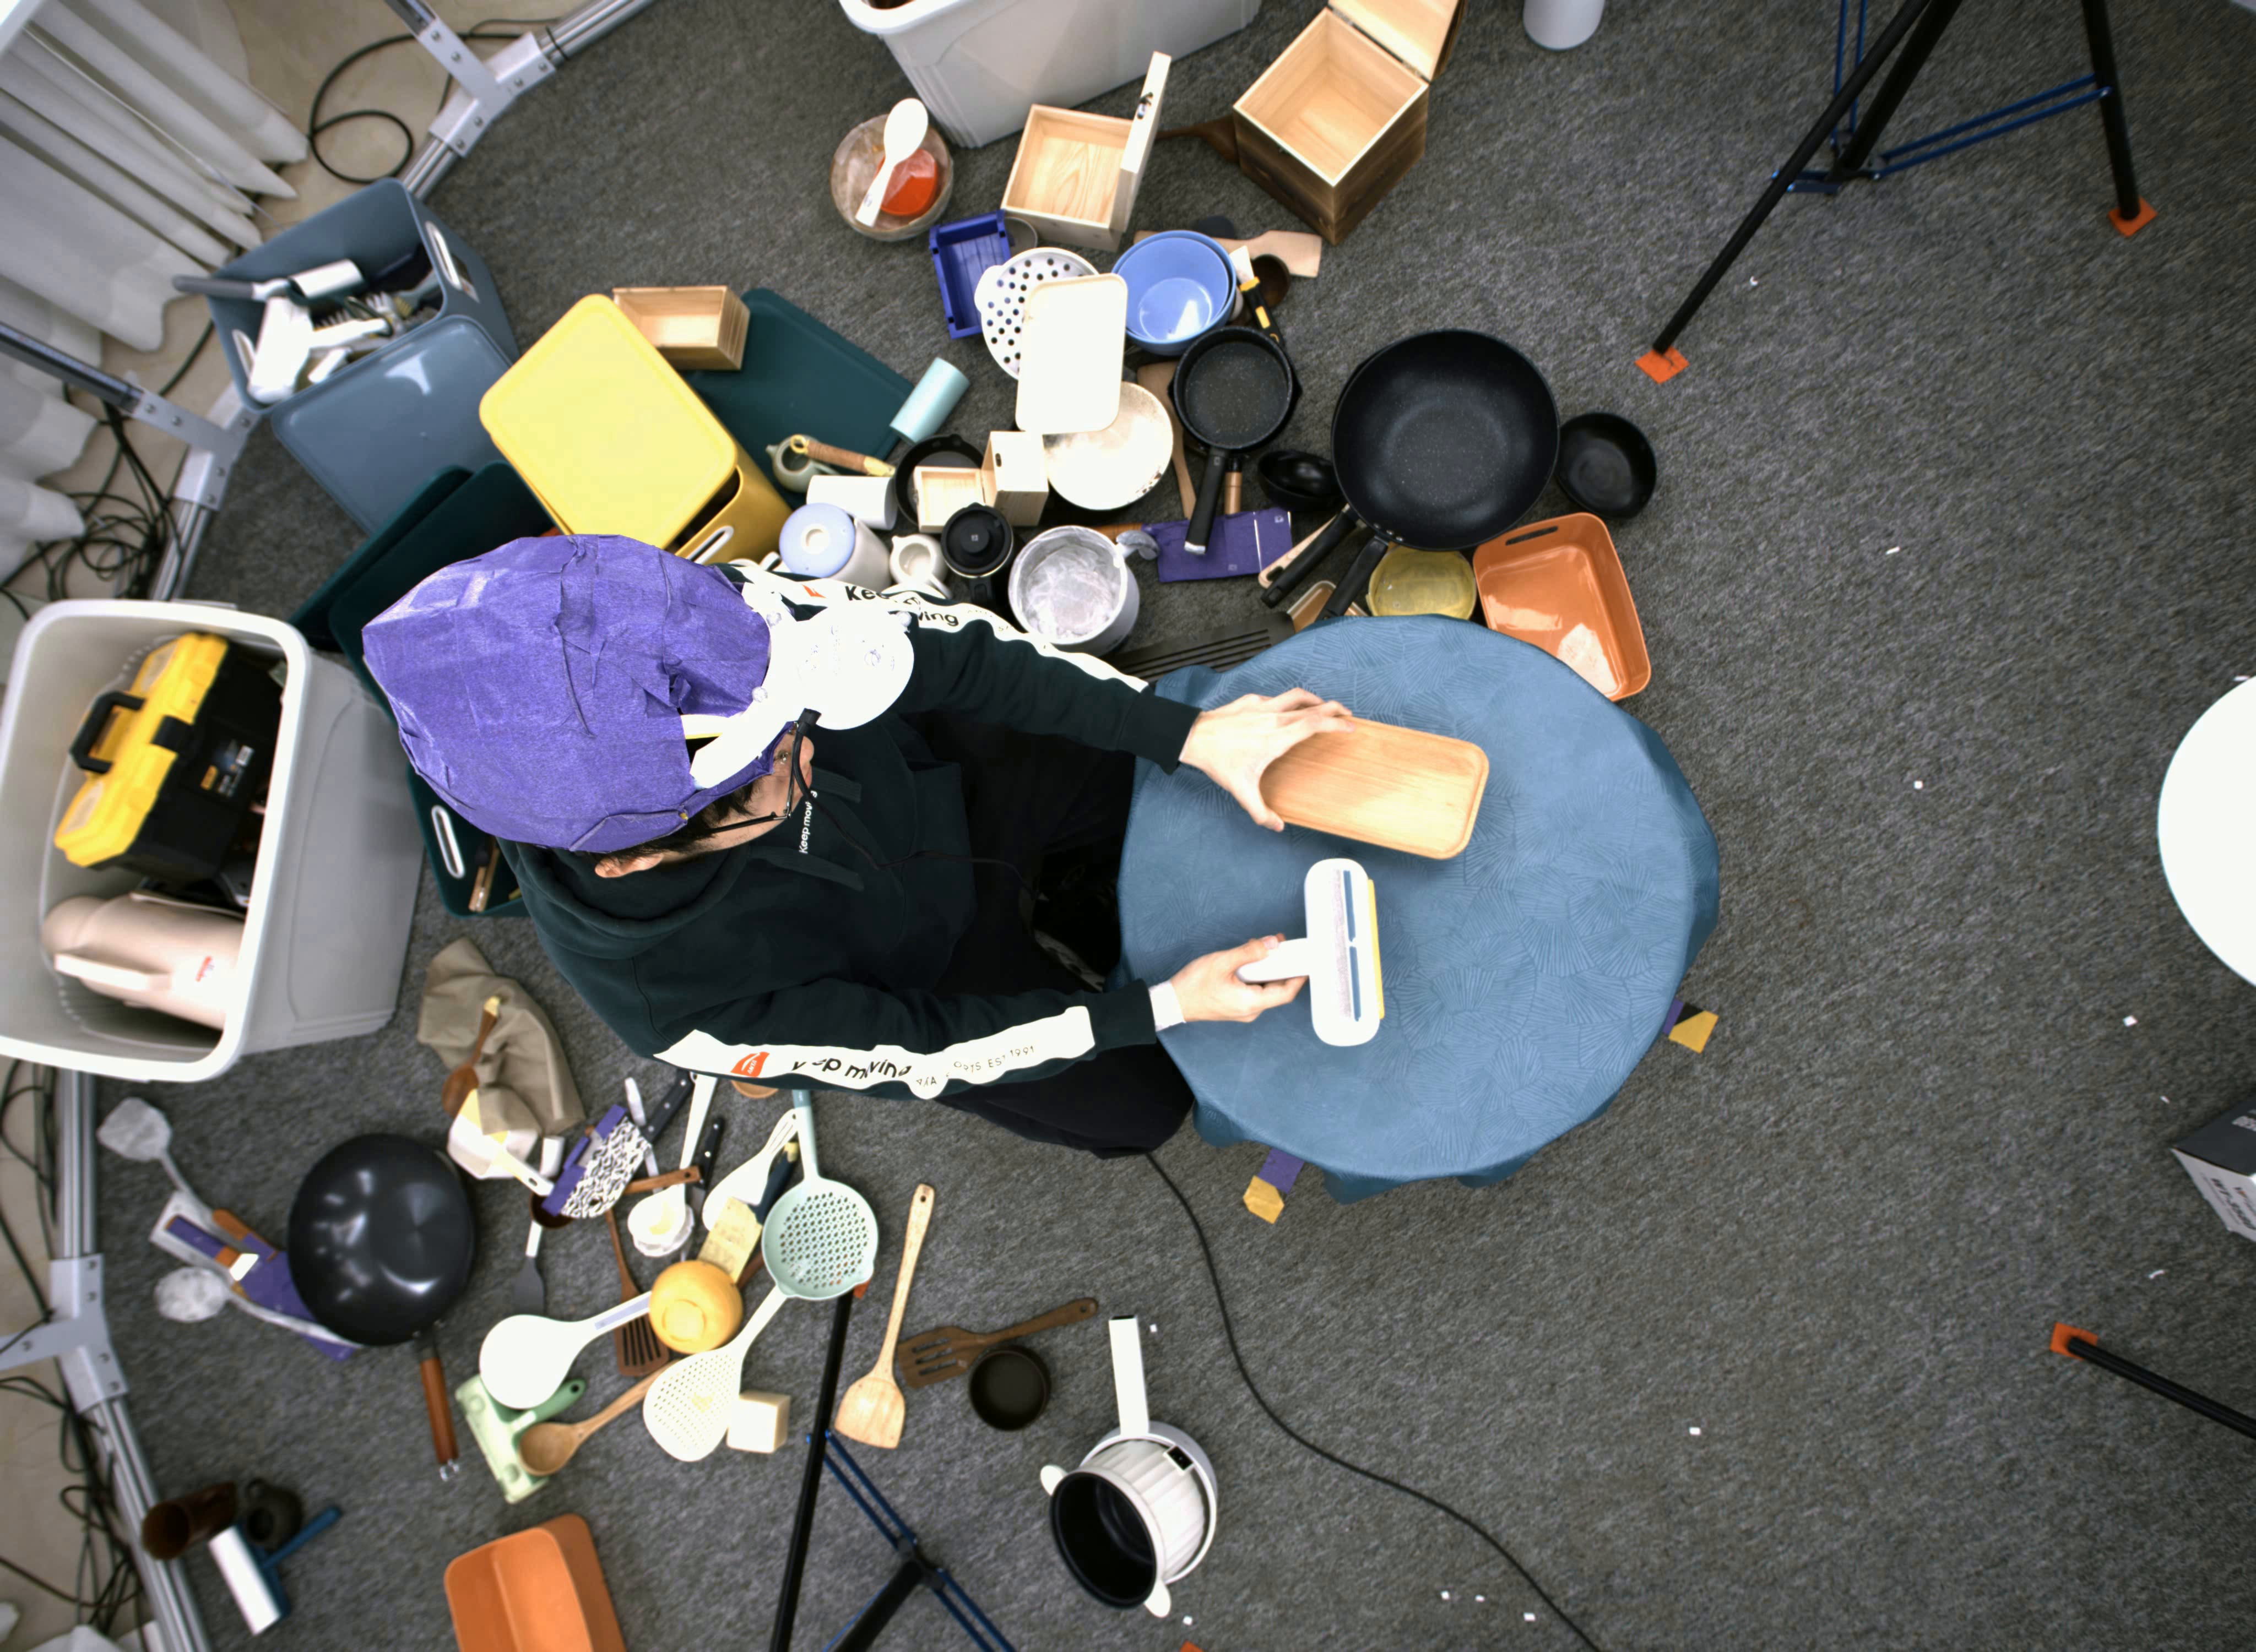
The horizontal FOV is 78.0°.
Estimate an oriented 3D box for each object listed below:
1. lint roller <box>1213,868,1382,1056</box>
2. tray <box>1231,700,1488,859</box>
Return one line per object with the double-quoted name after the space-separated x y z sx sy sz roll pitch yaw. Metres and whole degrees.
0.166 0.143 1.417 0.194 0.075 0.189 -7 69 29 "lint roller"
0.236 -0.050 1.412 0.251 0.023 0.129 15 77 21 "tray"
